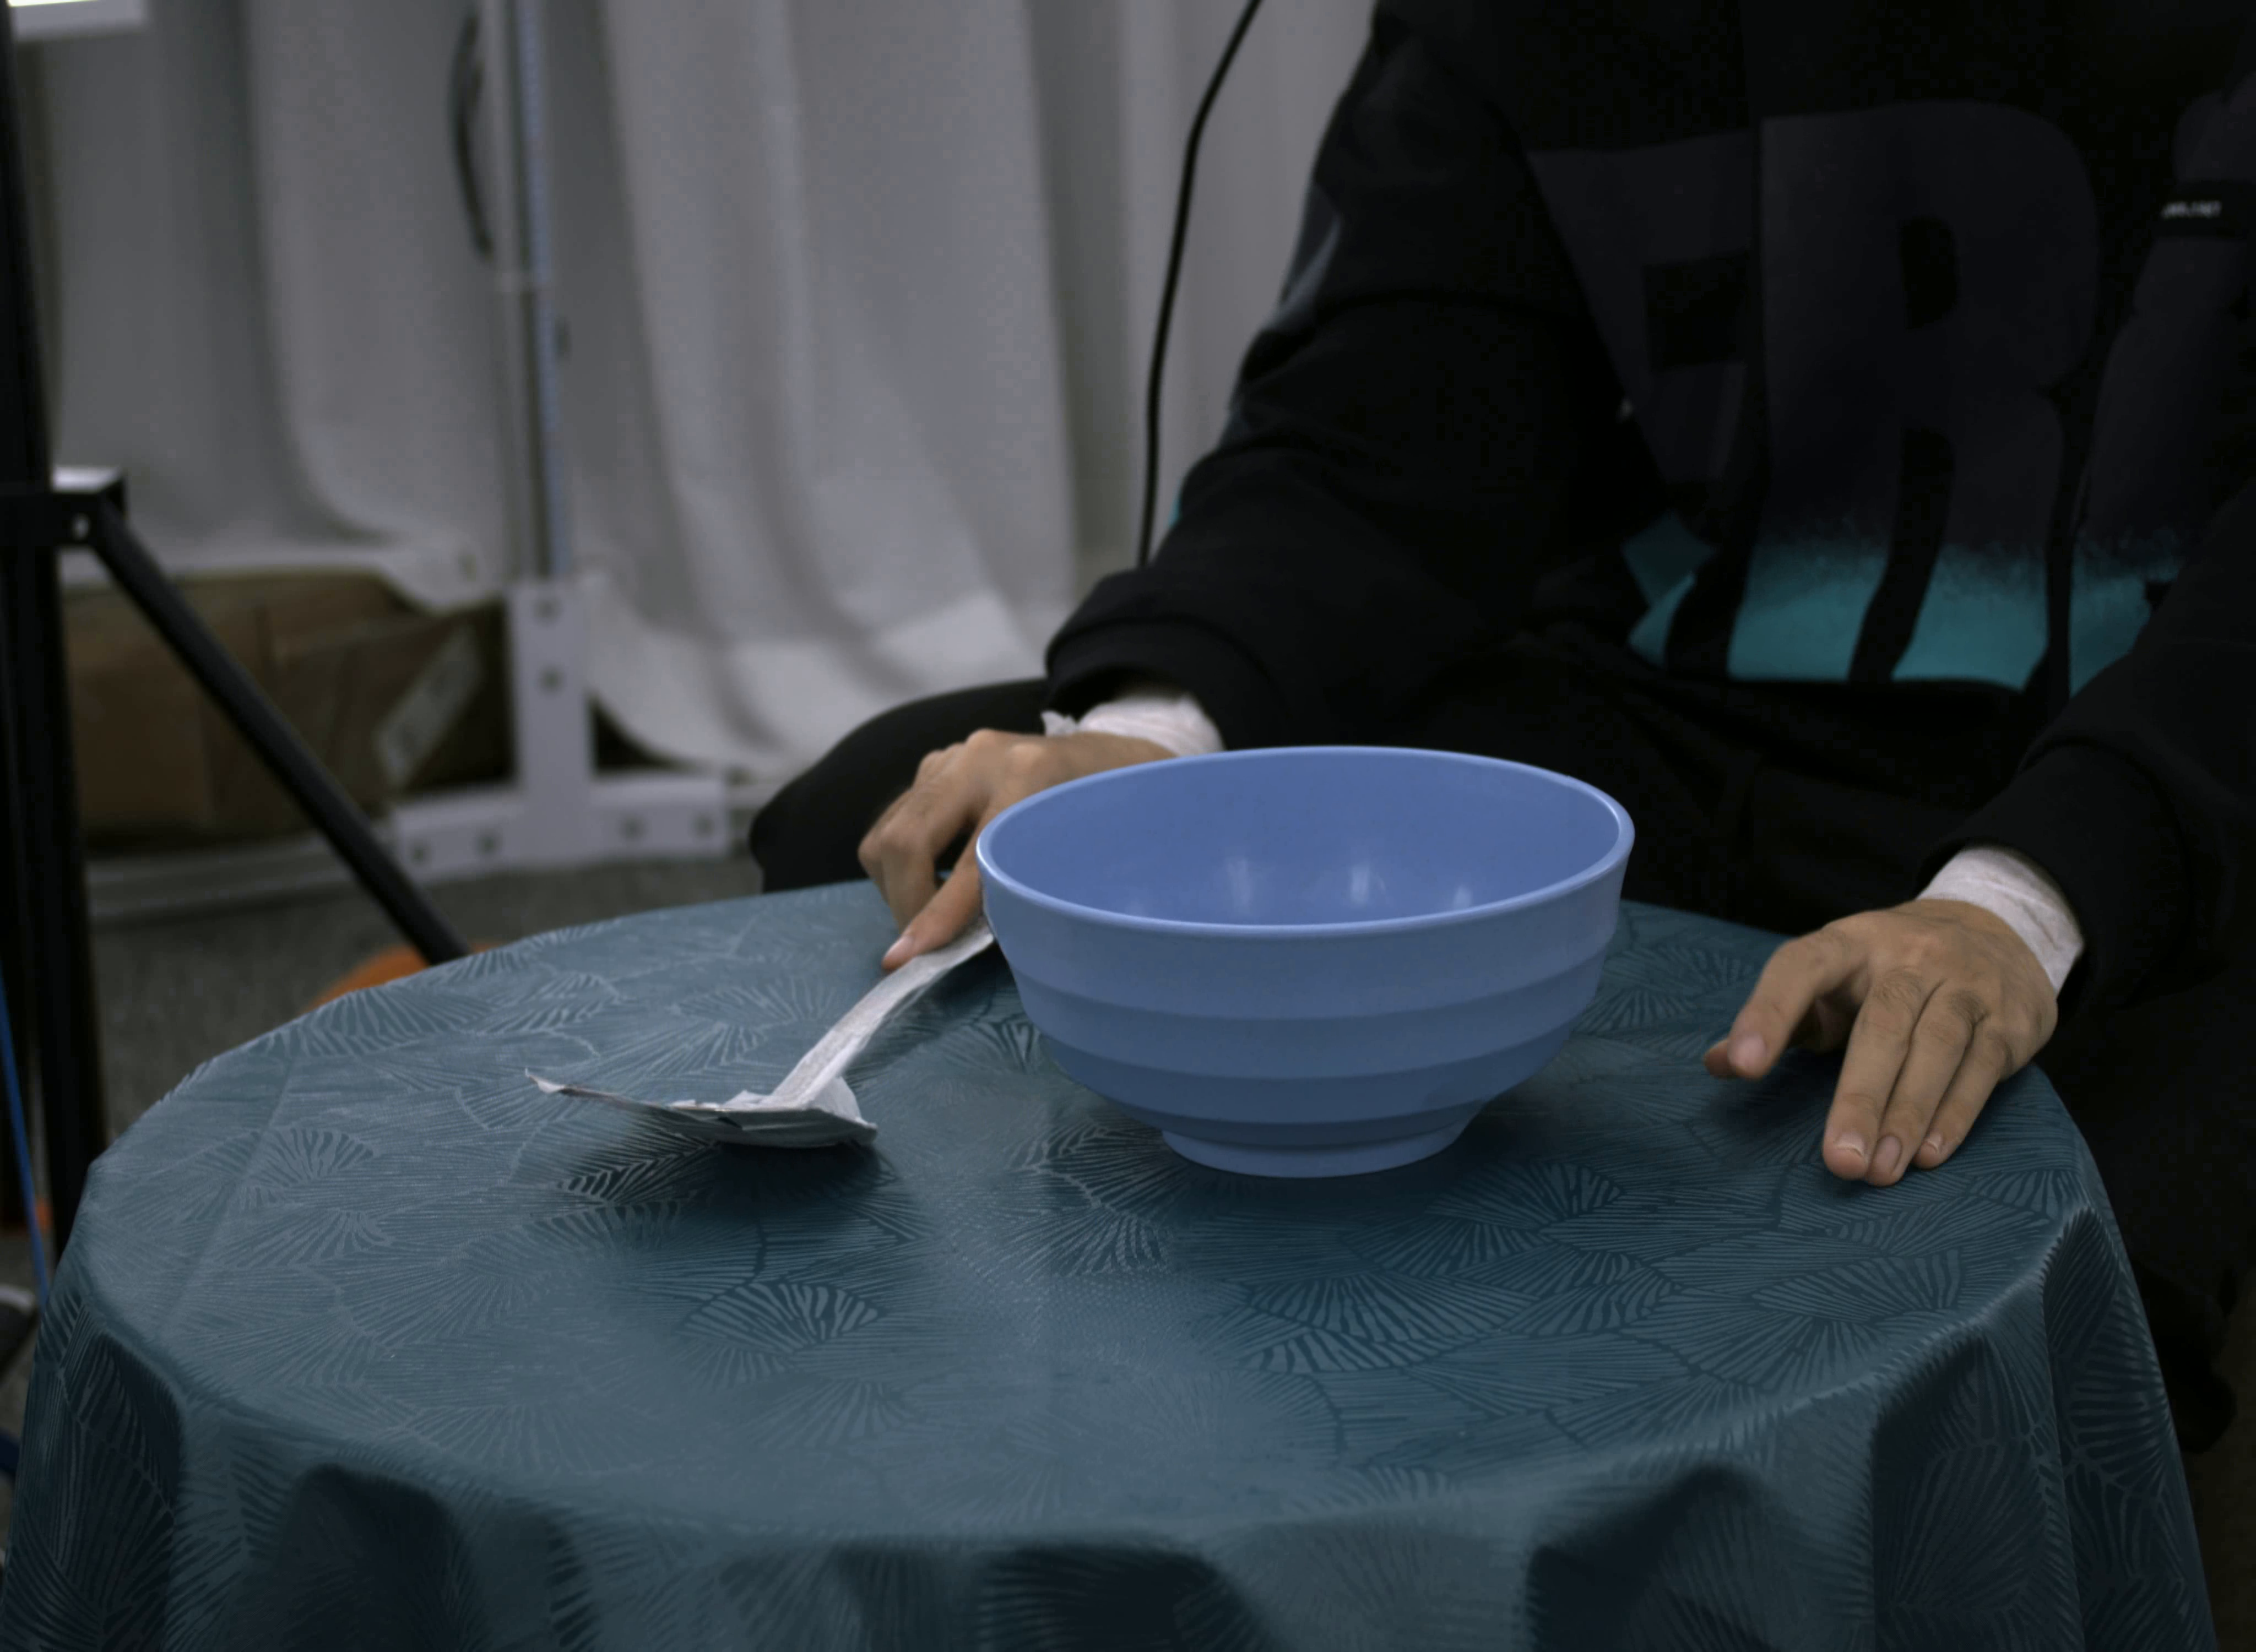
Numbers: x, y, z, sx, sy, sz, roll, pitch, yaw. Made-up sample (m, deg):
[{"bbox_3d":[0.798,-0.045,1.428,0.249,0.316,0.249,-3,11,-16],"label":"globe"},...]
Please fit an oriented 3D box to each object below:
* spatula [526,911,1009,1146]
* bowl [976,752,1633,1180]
[{"bbox_3d":[-0.070,0.050,1.705,0.100,0.045,0.360,3,17,23],"label":"spatula"},{"bbox_3d":[0.055,0.047,1.593,0.195,0.095,0.197,-4,15,0],"label":"bowl"}]
